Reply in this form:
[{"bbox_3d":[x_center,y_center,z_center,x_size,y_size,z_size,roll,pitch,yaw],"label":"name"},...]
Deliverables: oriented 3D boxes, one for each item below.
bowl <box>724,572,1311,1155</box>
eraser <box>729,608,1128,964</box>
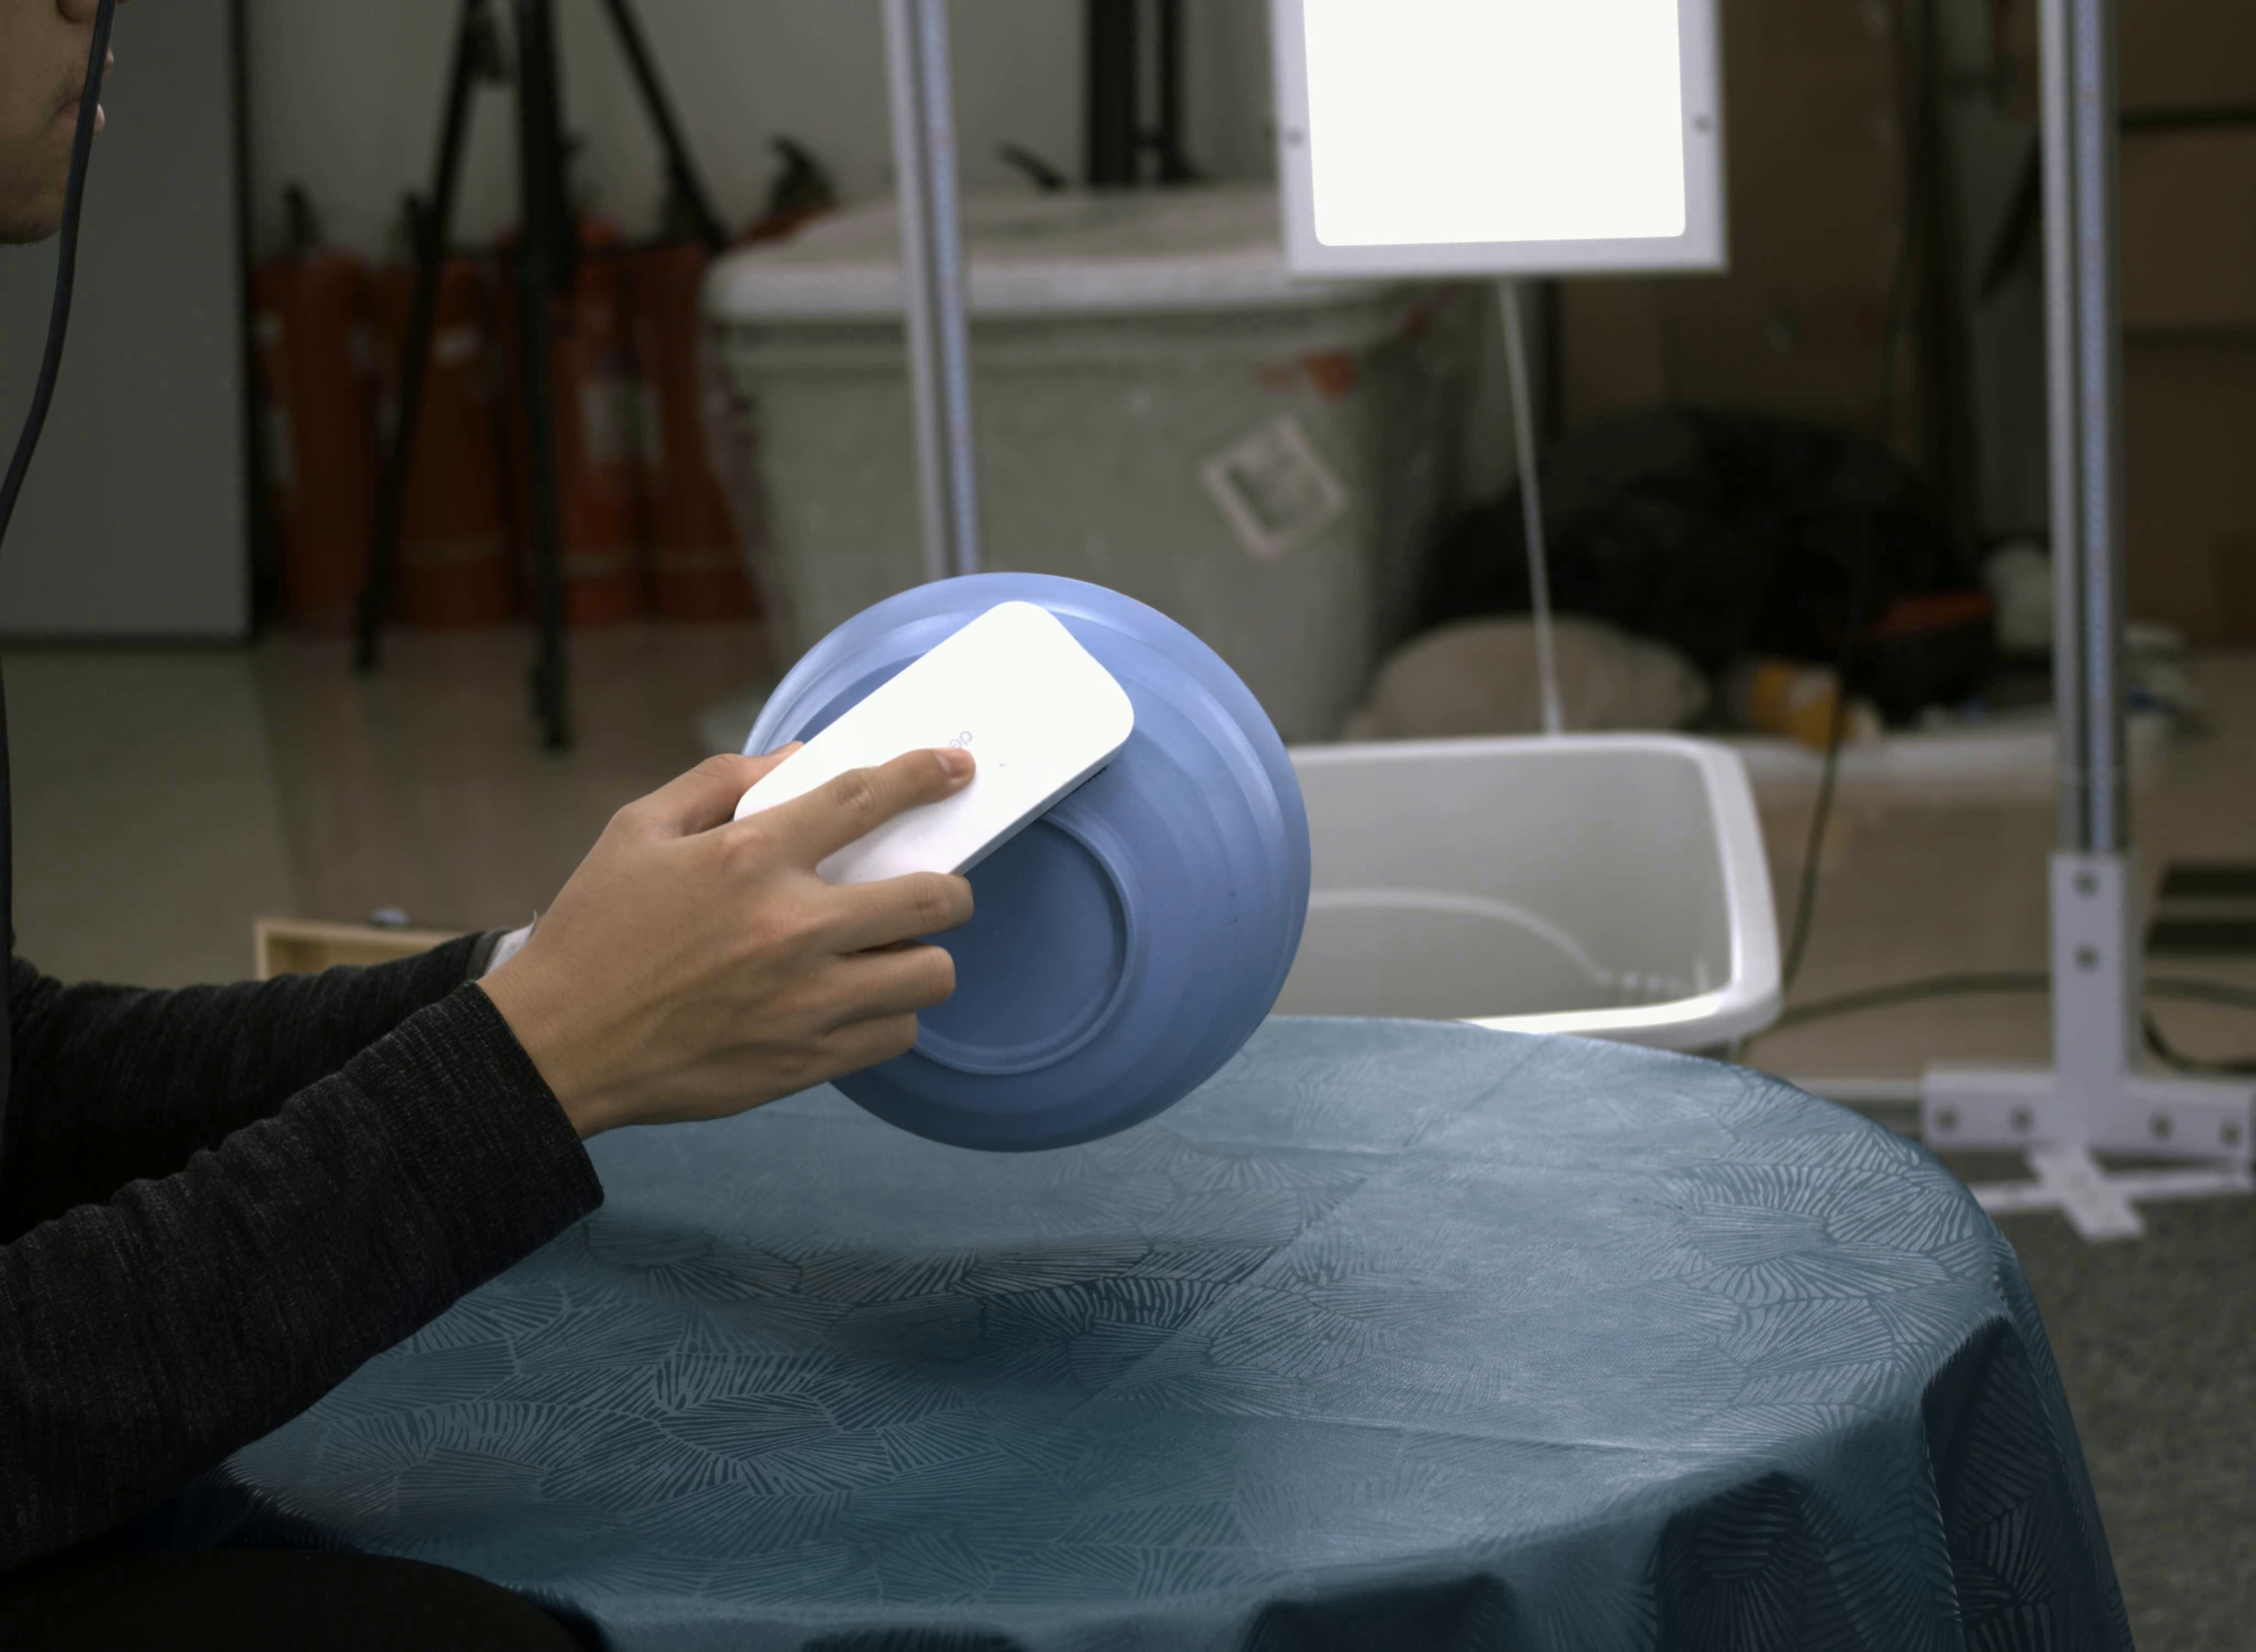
[{"bbox_3d":[-0.040,0.024,1.784,0.197,0.197,0.095,-3,16,7],"label":"bowl"},{"bbox_3d":[-0.063,-0.014,1.709,0.129,0.064,0.035,-37,-16,-23],"label":"eraser"}]
